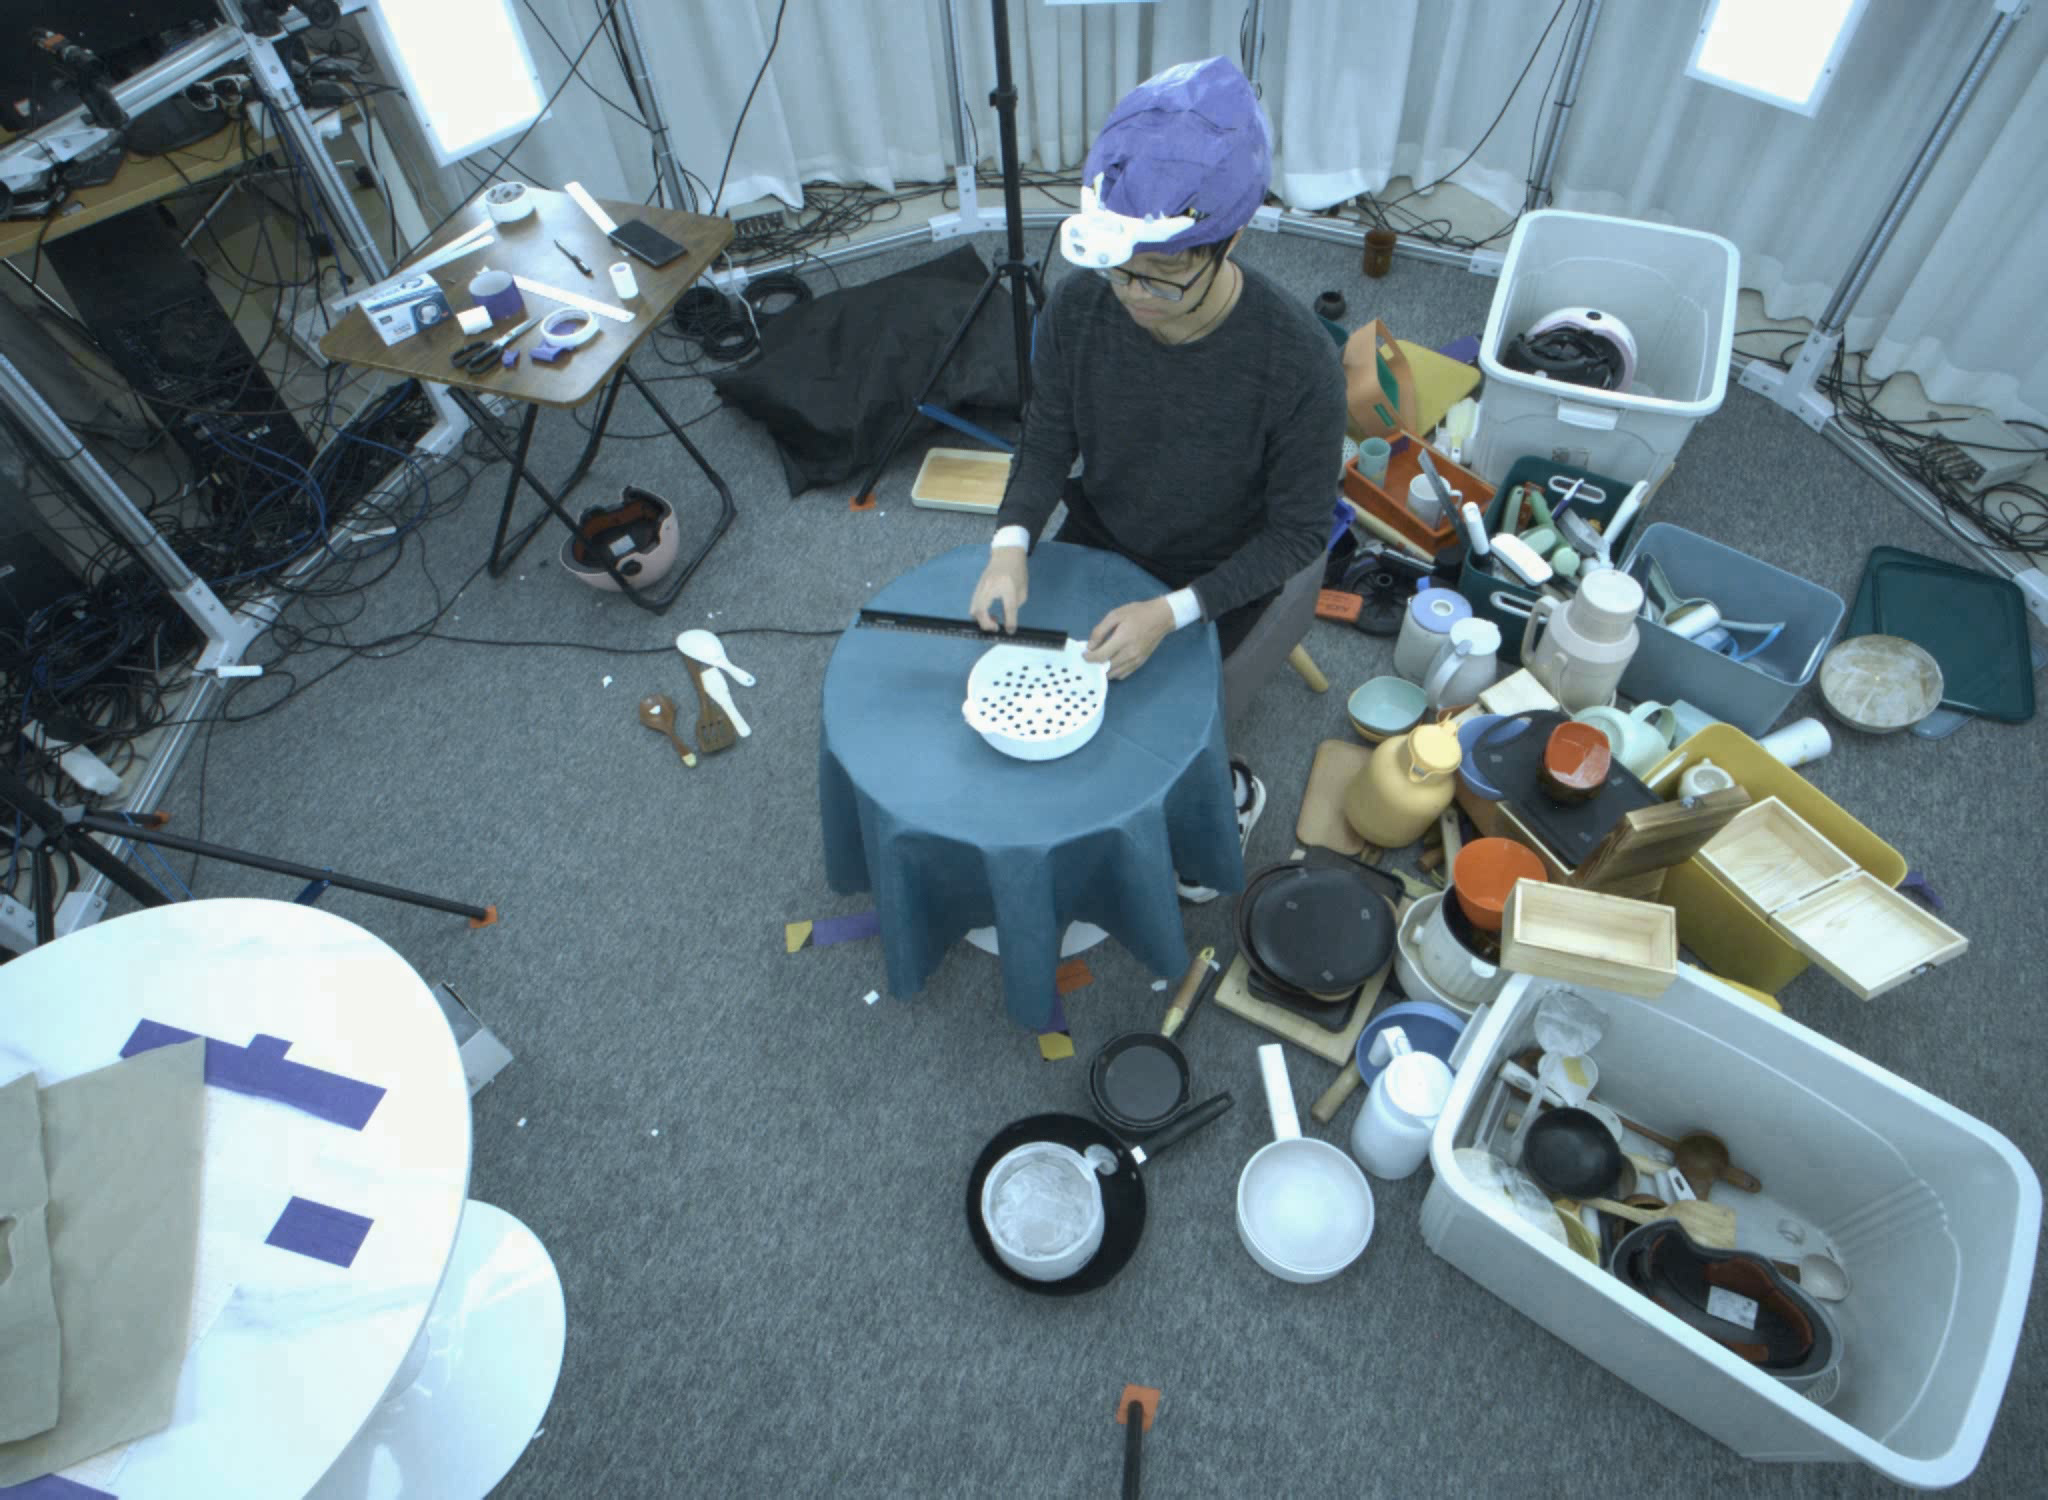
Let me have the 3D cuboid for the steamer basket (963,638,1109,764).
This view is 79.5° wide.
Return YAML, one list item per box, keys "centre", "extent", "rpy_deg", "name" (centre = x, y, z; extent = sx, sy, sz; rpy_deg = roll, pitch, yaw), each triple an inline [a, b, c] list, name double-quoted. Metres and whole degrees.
- centre: [0.020, -0.072, 1.796]
  extent: [0.232, 0.070, 0.198]
  rpy_deg: [-31, 59, -16]
  name: "steamer basket"

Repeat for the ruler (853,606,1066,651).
- centre: [-0.095, -0.178, 1.781]
  extent: [0.311, 0.017, 0.039]
  rpy_deg: [8, 42, 4]
  name: "ruler"
